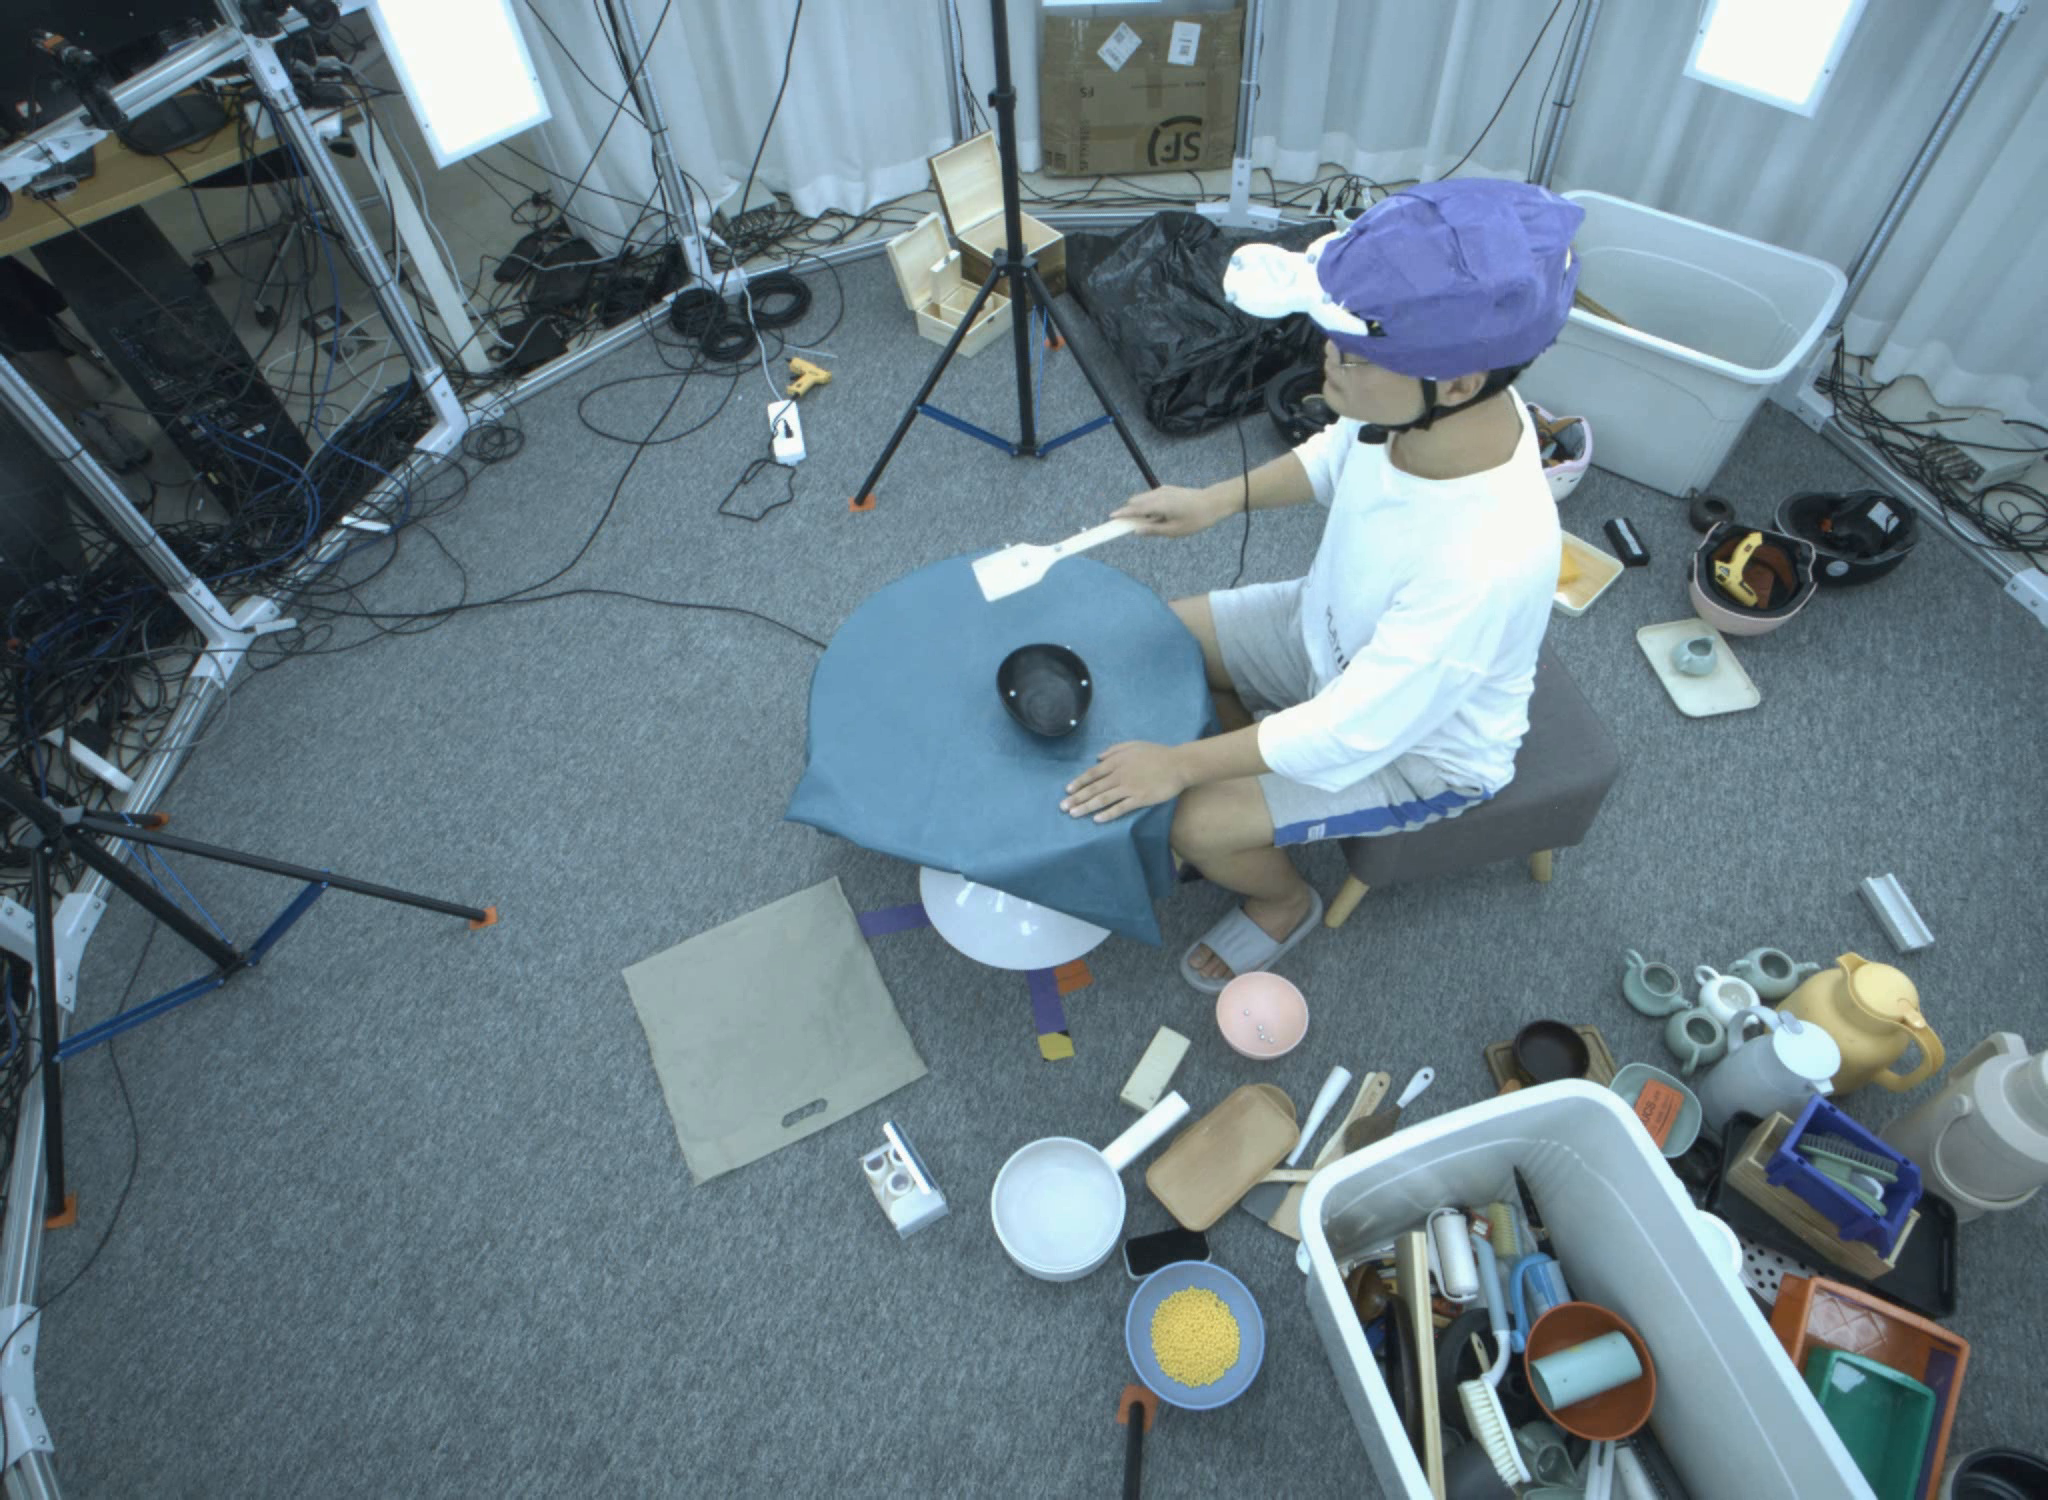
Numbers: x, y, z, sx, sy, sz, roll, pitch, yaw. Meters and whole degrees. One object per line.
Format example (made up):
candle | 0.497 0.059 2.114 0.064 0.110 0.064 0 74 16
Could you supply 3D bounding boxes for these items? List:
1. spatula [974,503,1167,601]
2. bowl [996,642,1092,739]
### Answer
spatula | 0.072 -0.300 1.790 0.294 0.011 0.071 -23 73 -4
bowl | 0.031 -0.079 1.801 0.138 0.067 0.167 -16 58 -10
